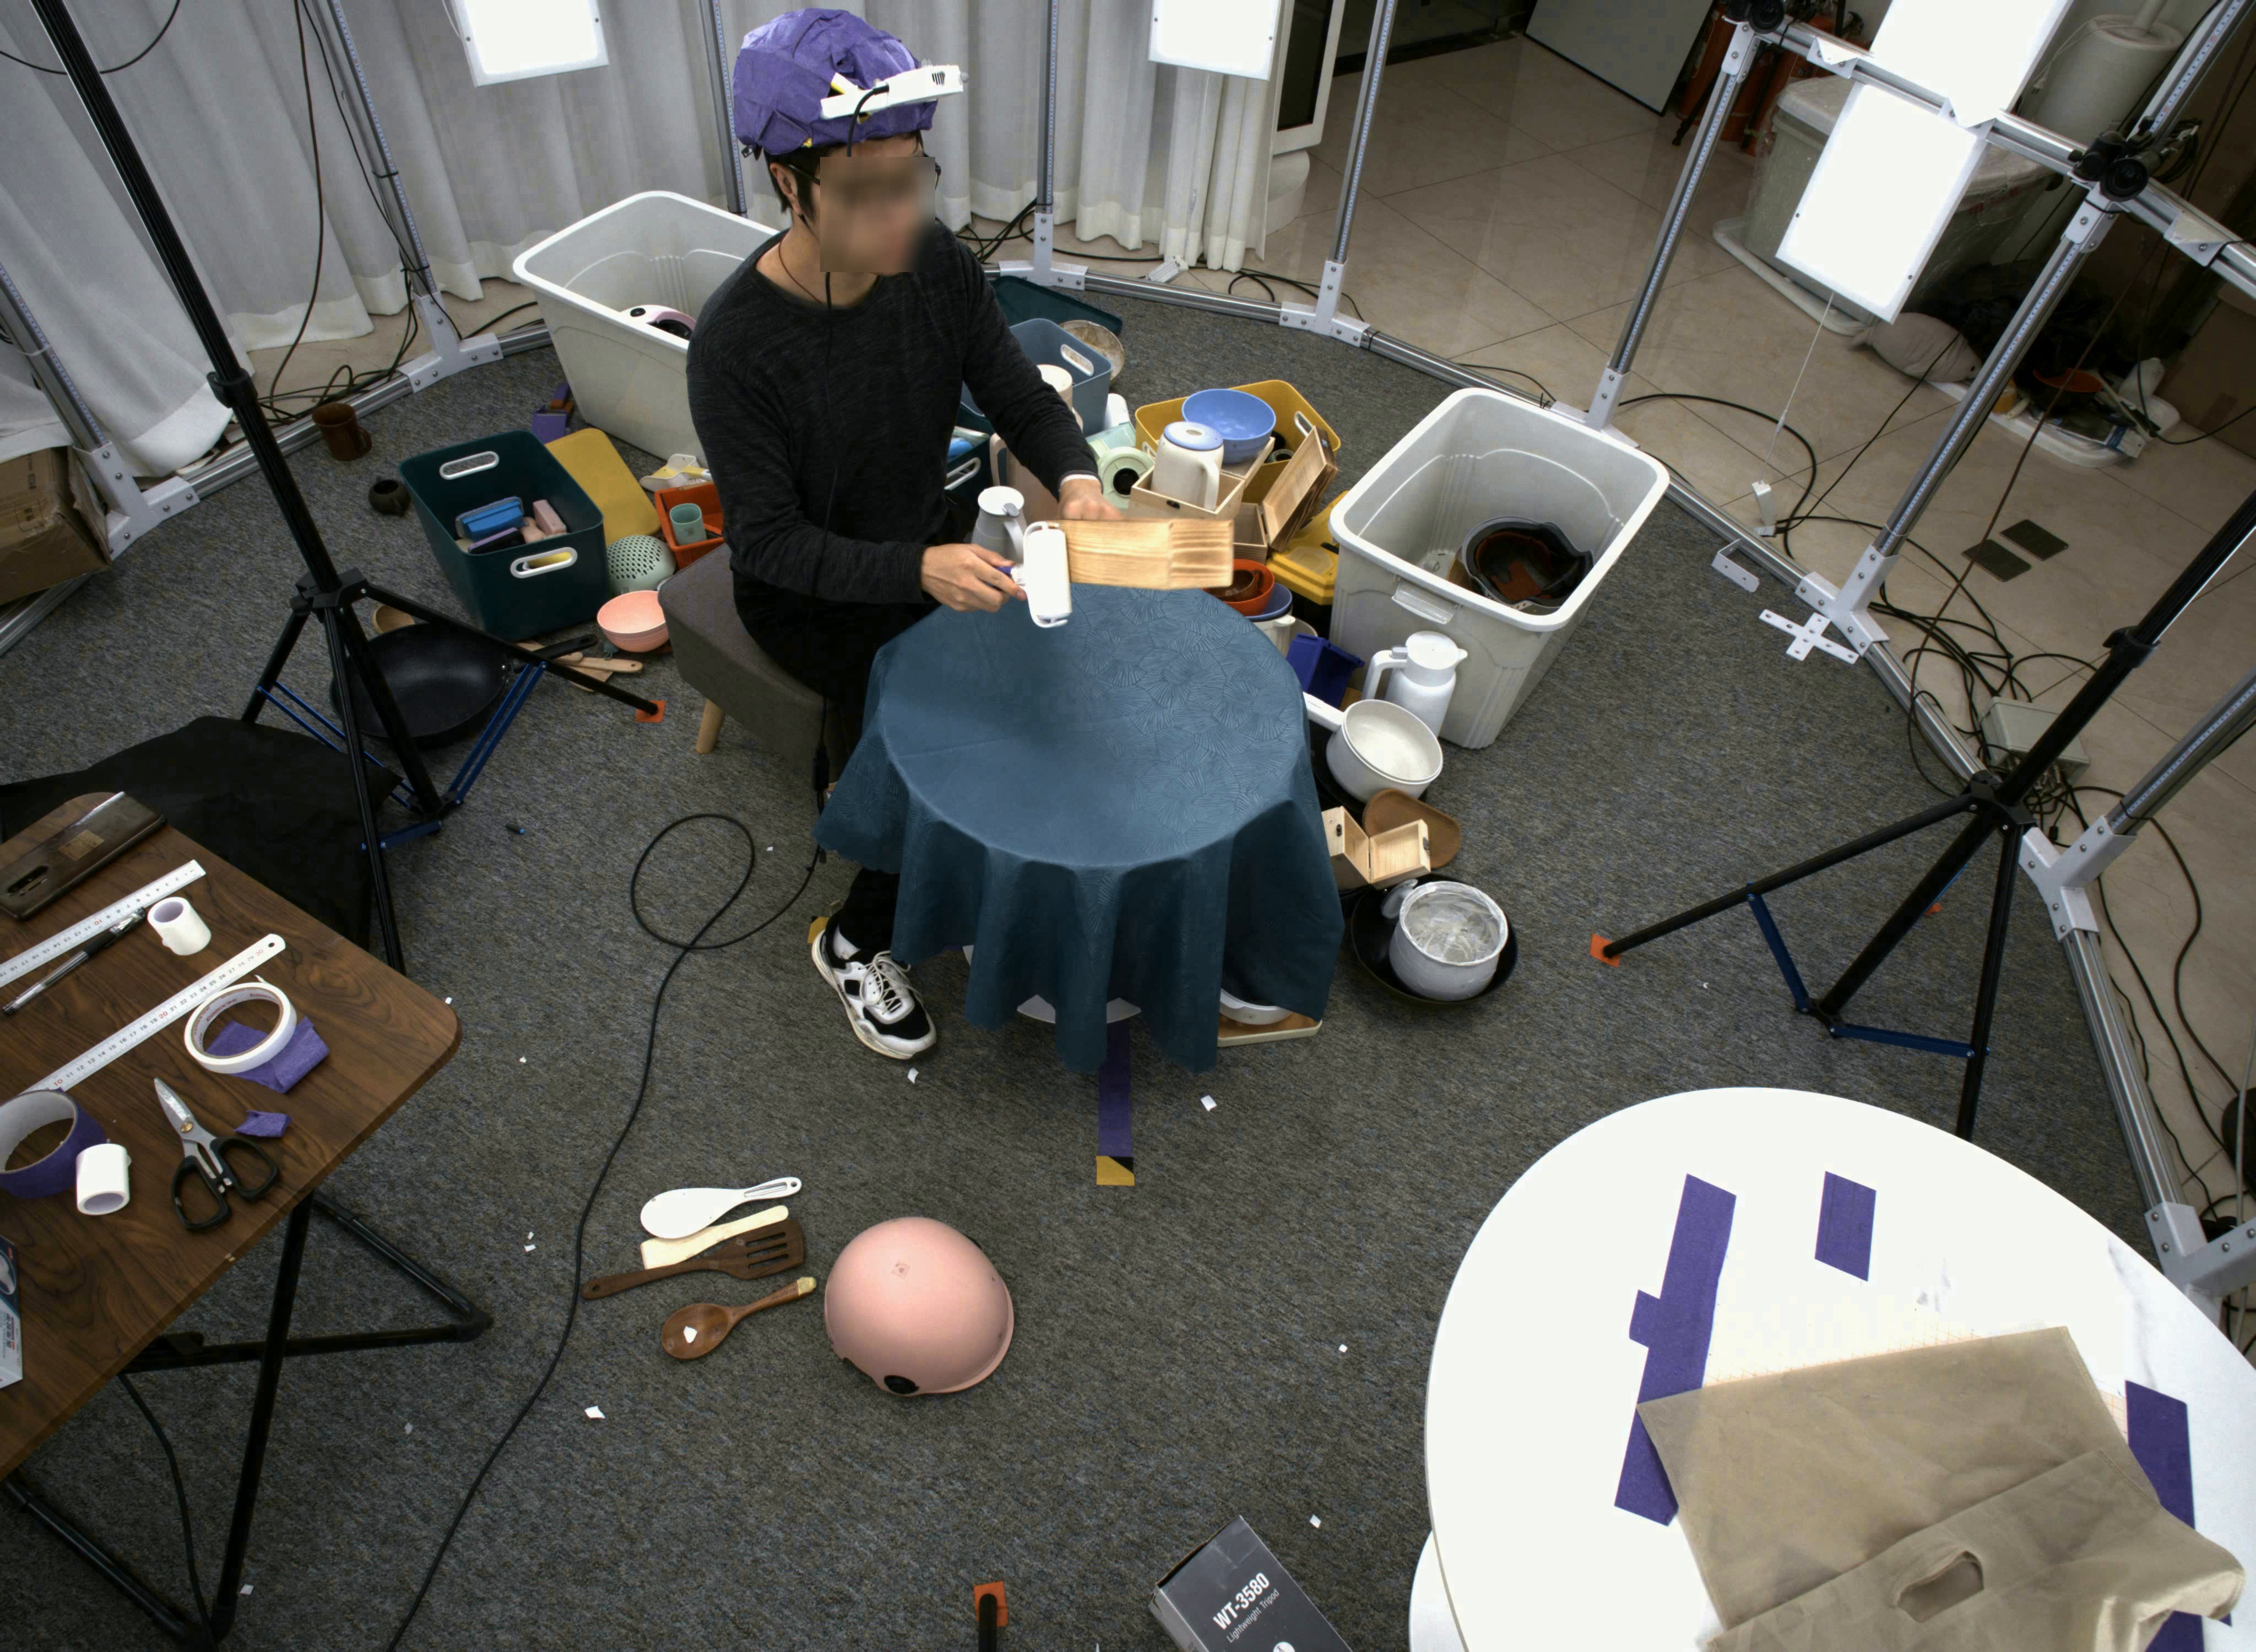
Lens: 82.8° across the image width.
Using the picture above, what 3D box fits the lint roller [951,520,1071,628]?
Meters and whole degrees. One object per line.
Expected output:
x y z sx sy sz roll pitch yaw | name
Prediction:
-0.157 -0.317 1.638 0.181 0.132 0.050 1 10 25 | lint roller

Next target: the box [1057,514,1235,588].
0.020 -0.338 1.577 0.107 0.079 0.213 -12 17 -39 | box
